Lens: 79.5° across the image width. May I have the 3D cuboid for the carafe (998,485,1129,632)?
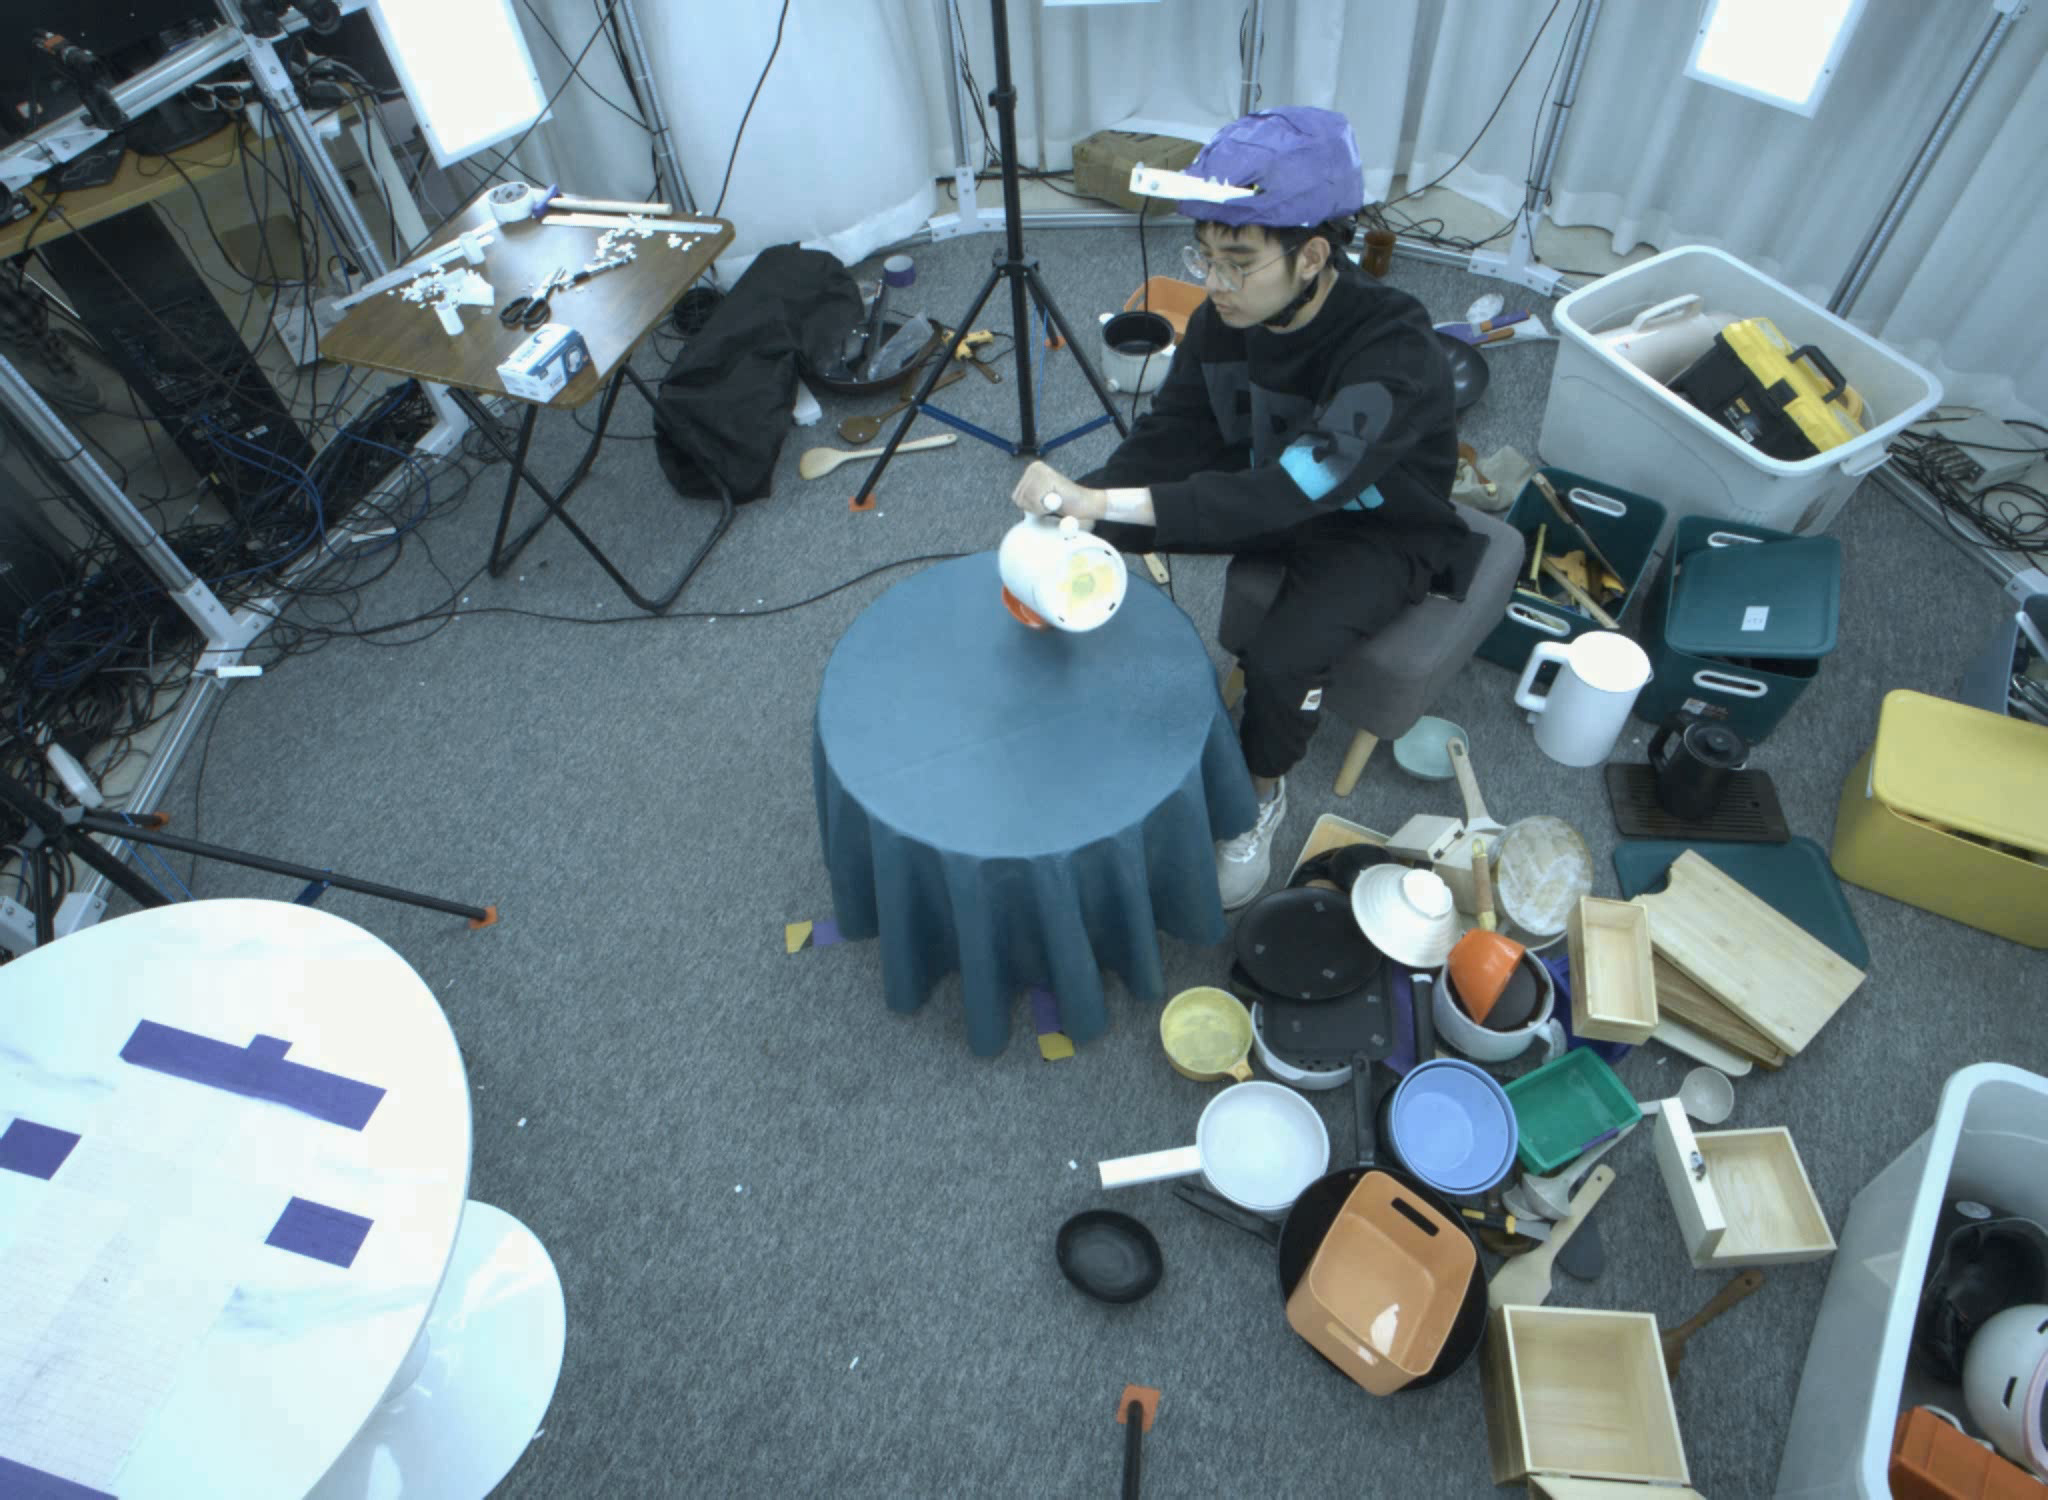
[{"bbox_3d":[0.046,-0.270,1.690,0.133,0.193,0.178,-21,34,-18],"label":"carafe"}]

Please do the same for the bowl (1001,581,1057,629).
[{"bbox_3d":[0.028,-0.230,1.864,0.118,0.052,0.118,-3,66,7],"label":"bowl"}]
